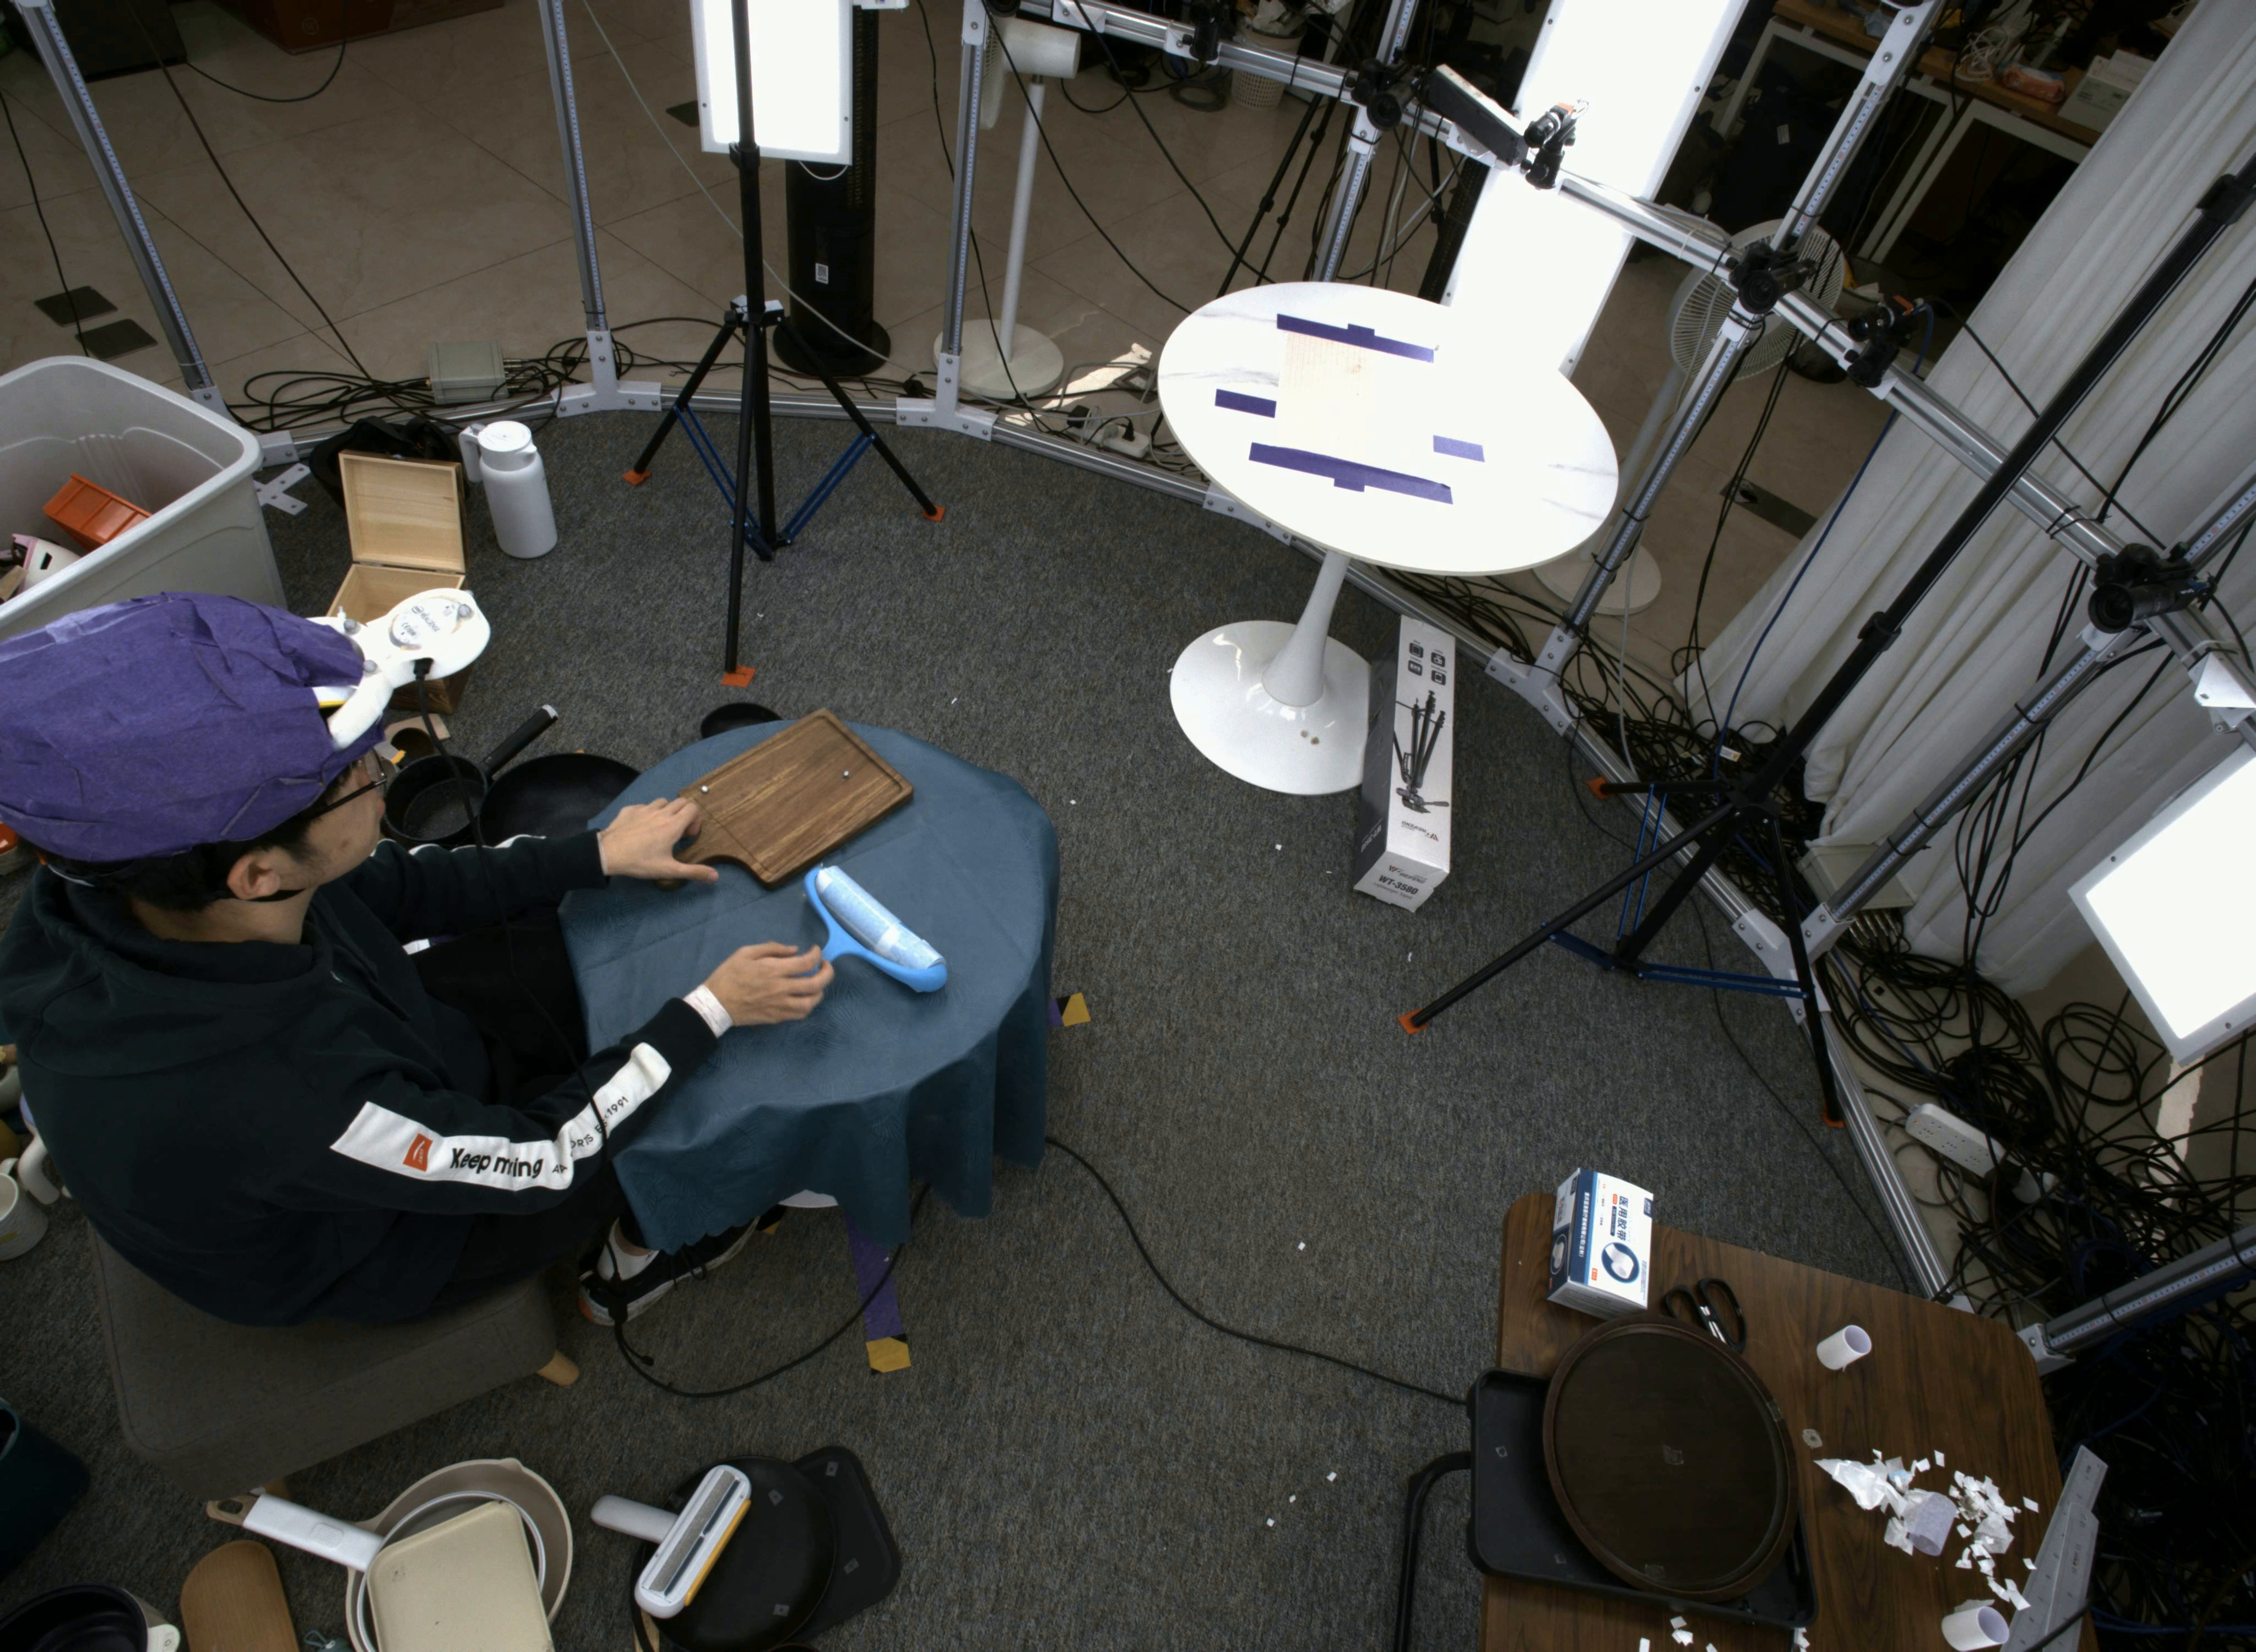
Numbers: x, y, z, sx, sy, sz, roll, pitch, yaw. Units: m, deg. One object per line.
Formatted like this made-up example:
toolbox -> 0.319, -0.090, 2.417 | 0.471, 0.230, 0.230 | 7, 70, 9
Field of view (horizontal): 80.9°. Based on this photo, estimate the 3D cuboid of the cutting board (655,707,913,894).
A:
cutting board -> -0.477, -0.019, 1.715 | 0.197, 0.023, 0.353 | 40, 54, 16

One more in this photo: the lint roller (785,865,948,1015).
lint roller -> -0.350, 0.157, 1.597 | 0.225, 0.069, 0.180 | 36, 53, 11
